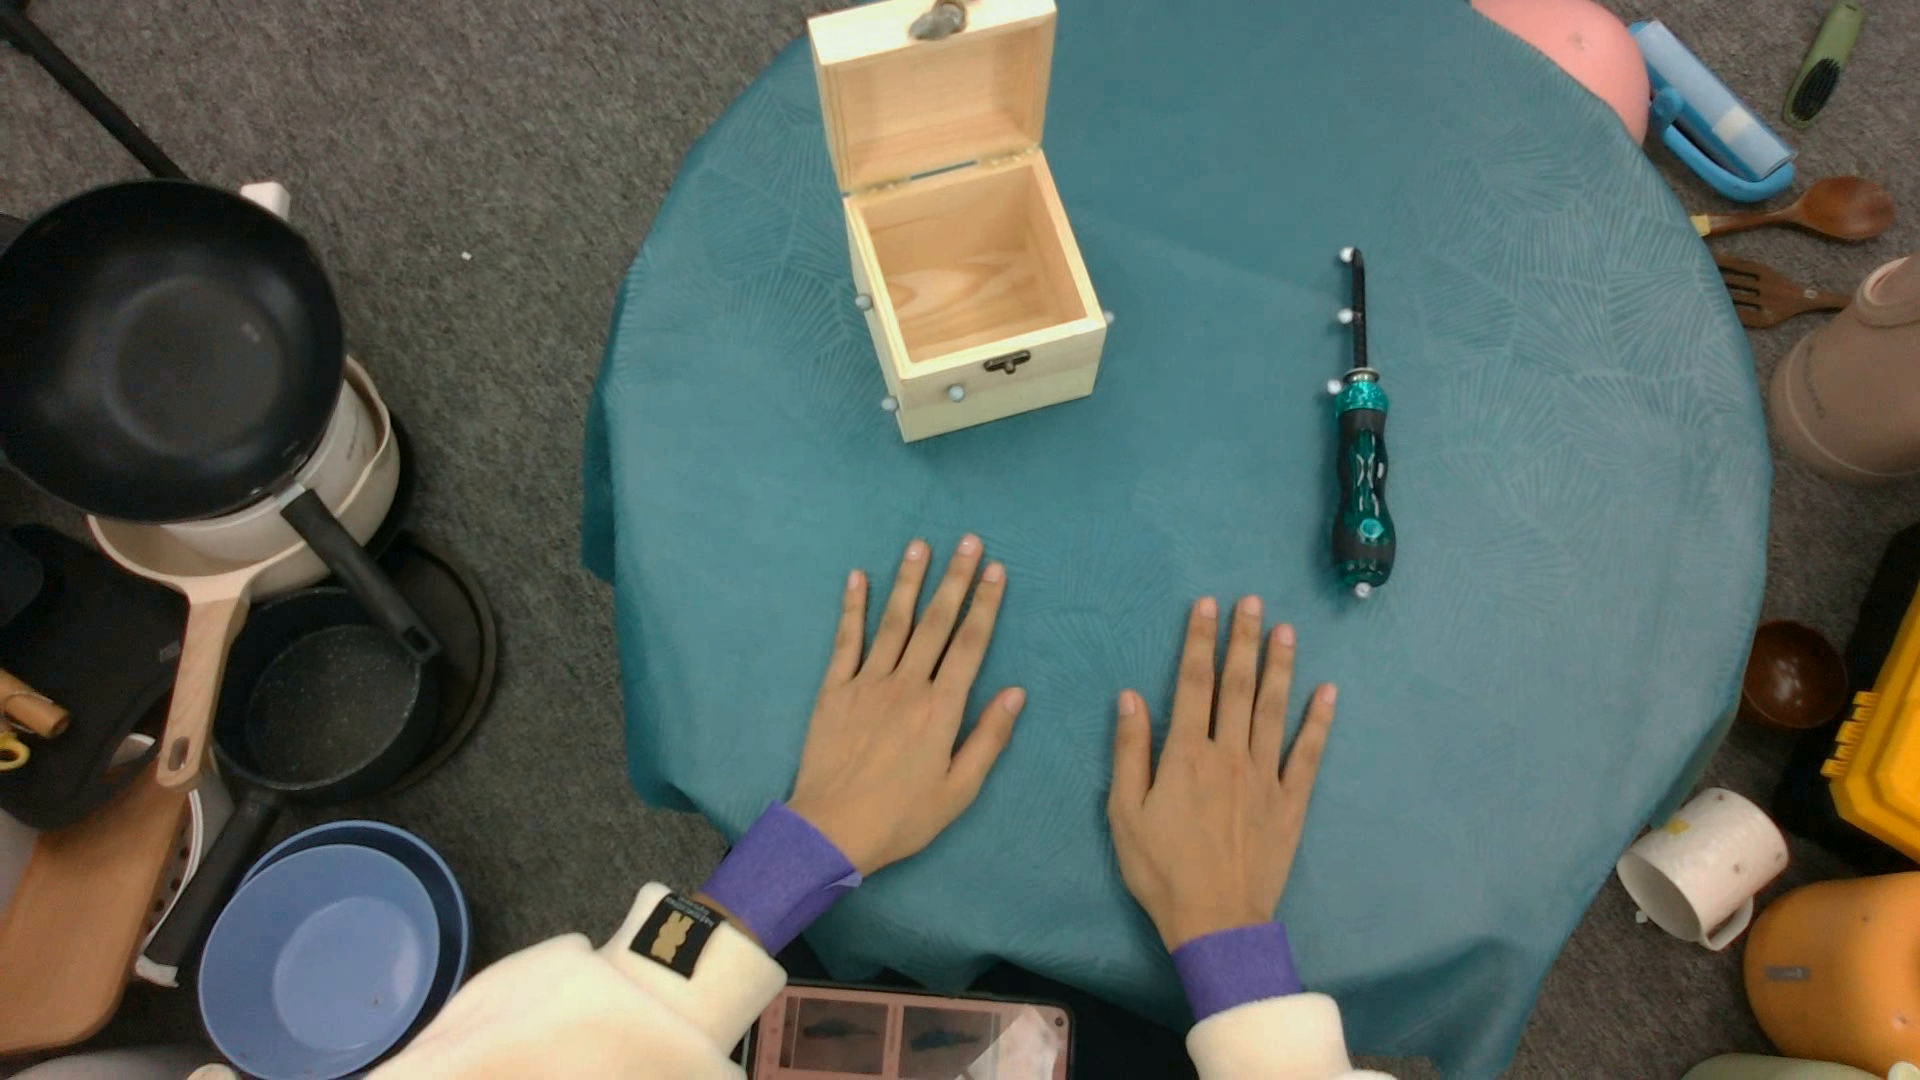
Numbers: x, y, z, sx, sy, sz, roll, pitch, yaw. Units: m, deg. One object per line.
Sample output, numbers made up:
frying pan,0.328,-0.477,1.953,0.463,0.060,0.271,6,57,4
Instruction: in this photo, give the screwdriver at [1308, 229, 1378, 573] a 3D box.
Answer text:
screwdriver,0.195,-0.076,0.700,0.034,0.033,0.190,5,70,1

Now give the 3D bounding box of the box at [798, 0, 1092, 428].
box,-0.003,-0.152,0.637,0.102,0.184,0.134,-16,72,-6
